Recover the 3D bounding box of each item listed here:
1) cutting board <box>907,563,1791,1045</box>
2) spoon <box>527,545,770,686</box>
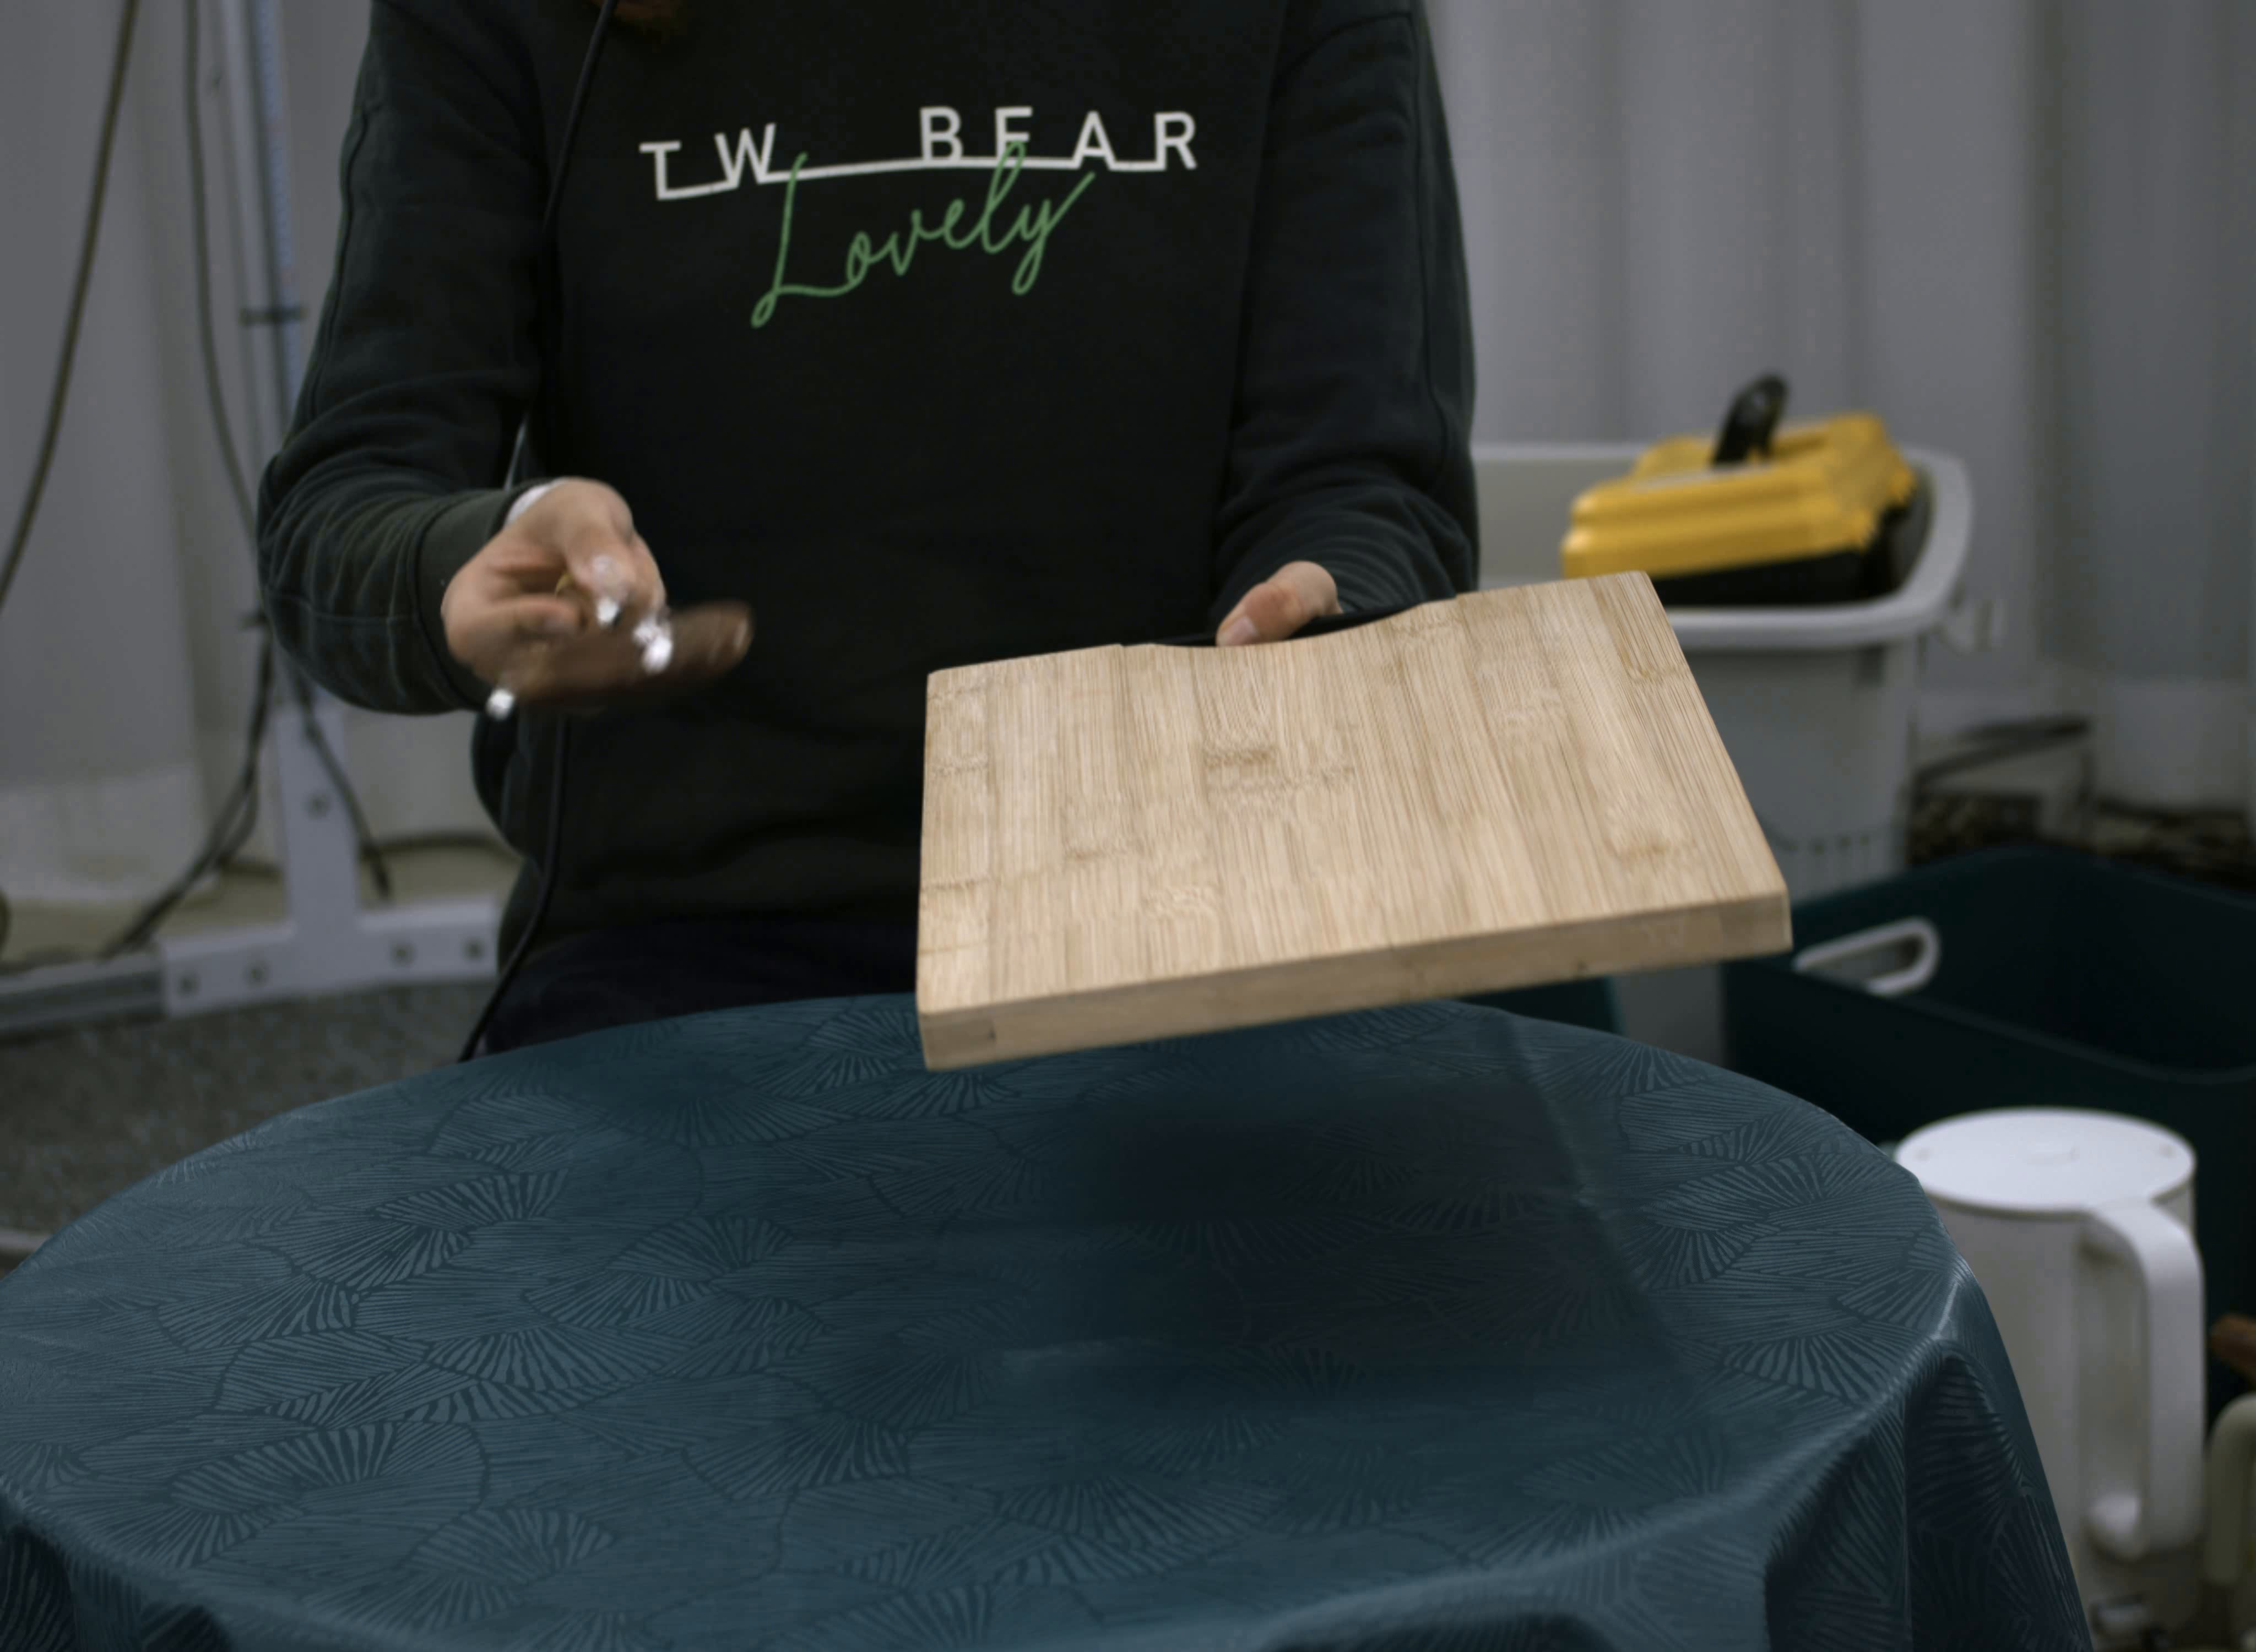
[{"bbox_3d":[0.057,-0.012,1.652,0.250,0.023,0.351,-8,17,0],"label":"cutting board"},{"bbox_3d":[-0.152,-0.066,1.668,0.075,0.017,0.217,-19,13,-8],"label":"spoon"}]
